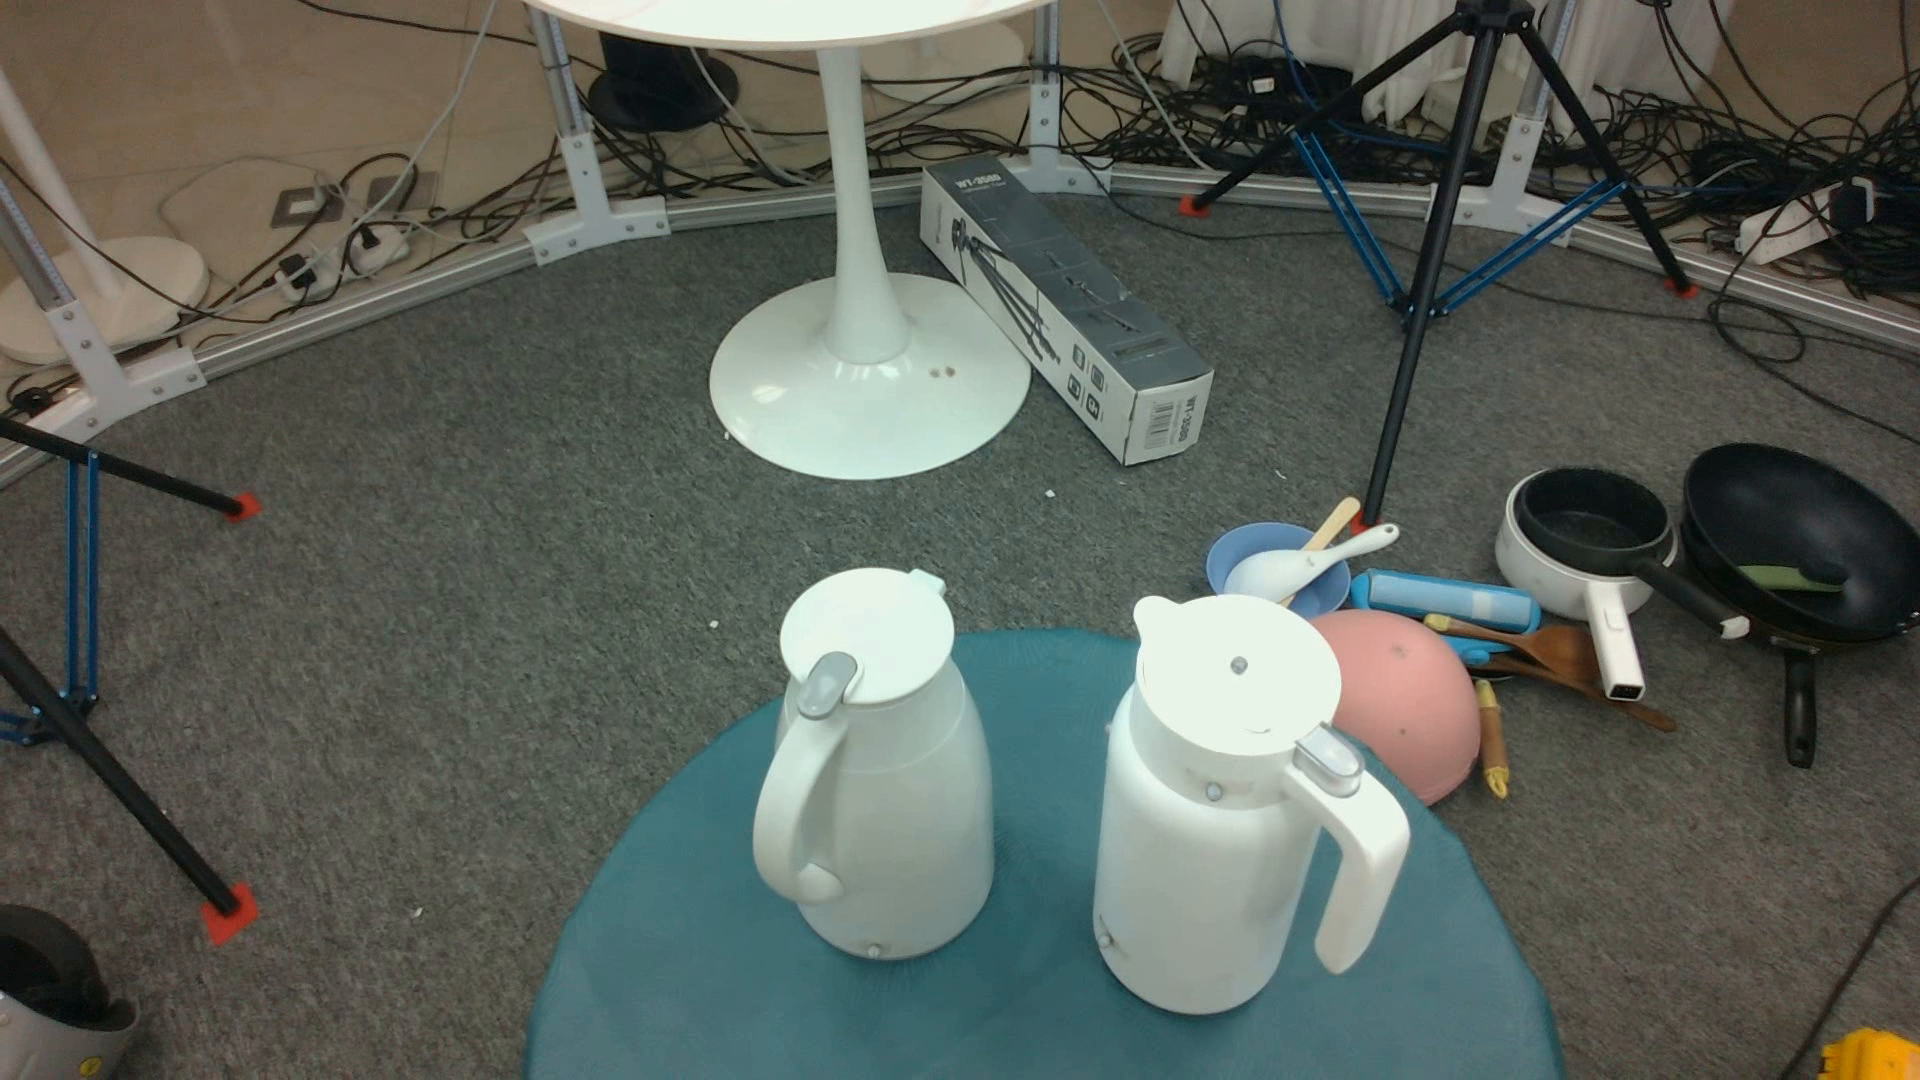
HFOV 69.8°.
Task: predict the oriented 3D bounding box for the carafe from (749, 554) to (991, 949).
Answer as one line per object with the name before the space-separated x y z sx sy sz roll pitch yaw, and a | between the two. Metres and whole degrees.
carafe | -0.058 0.133 0.789 0.132 0.247 0.168 22 52 20

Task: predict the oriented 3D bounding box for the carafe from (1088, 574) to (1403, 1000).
carafe | 0.147 0.154 0.754 0.124 0.267 0.173 -30 53 -27
